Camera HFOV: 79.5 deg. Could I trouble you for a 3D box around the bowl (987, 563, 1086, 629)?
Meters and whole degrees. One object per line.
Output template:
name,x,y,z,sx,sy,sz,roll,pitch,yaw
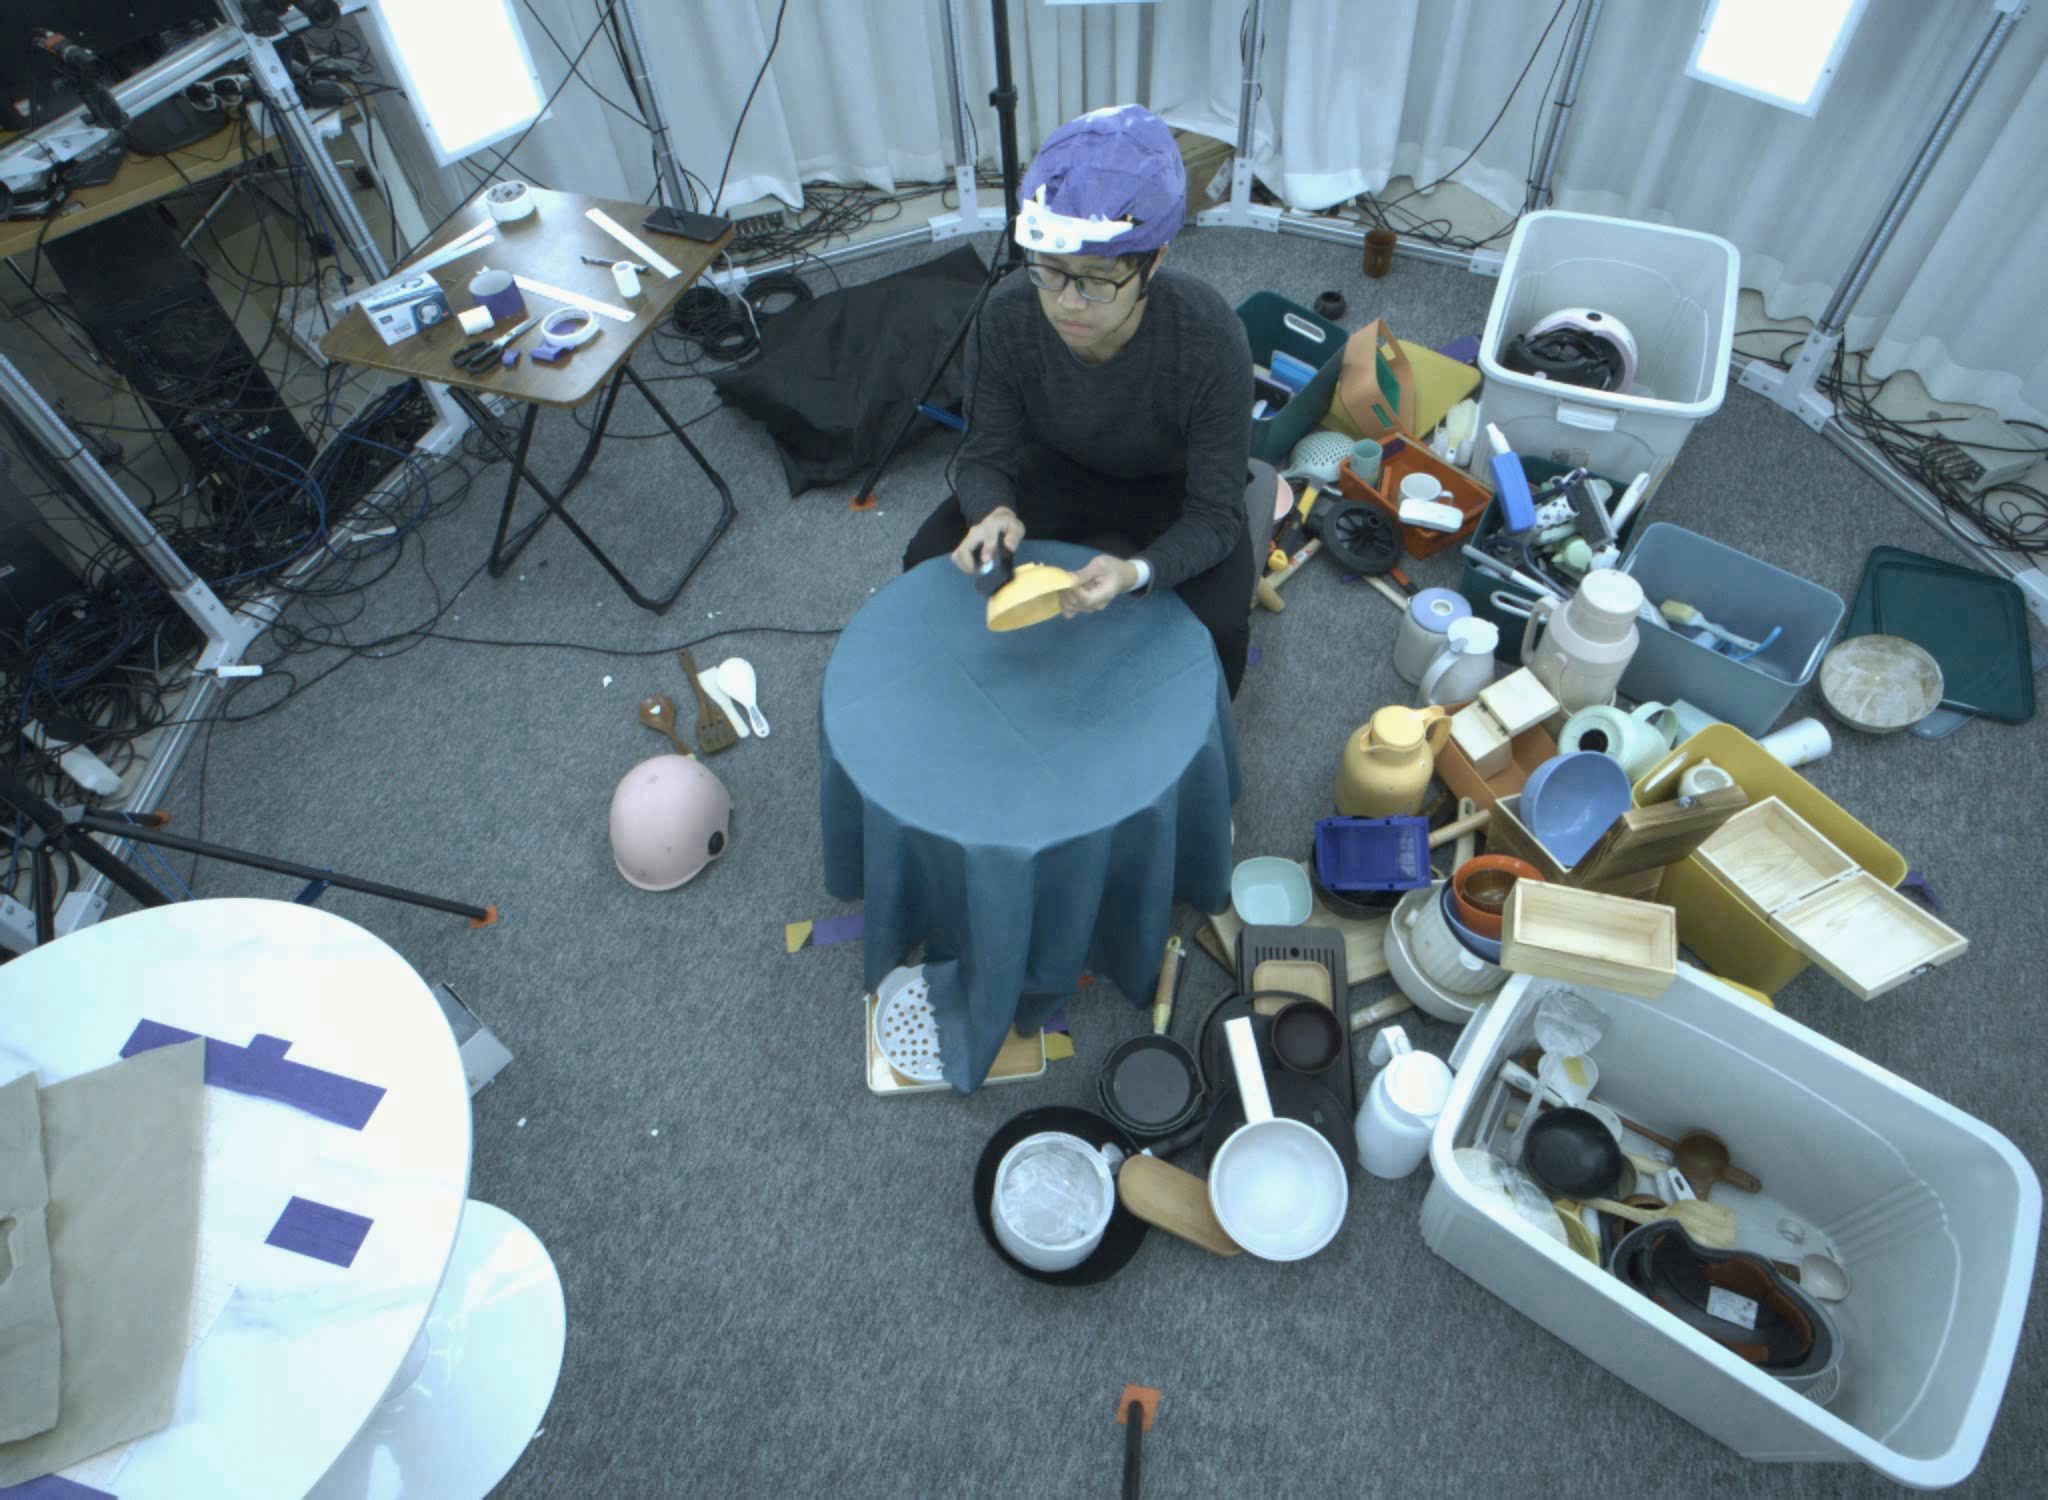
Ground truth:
bowl,0.009,-0.223,1.729,0.146,0.145,0.060,-17,83,-9

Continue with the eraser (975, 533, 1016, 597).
eraser,-0.041,-0.261,1.723,0.053,0.031,0.124,-33,28,15
